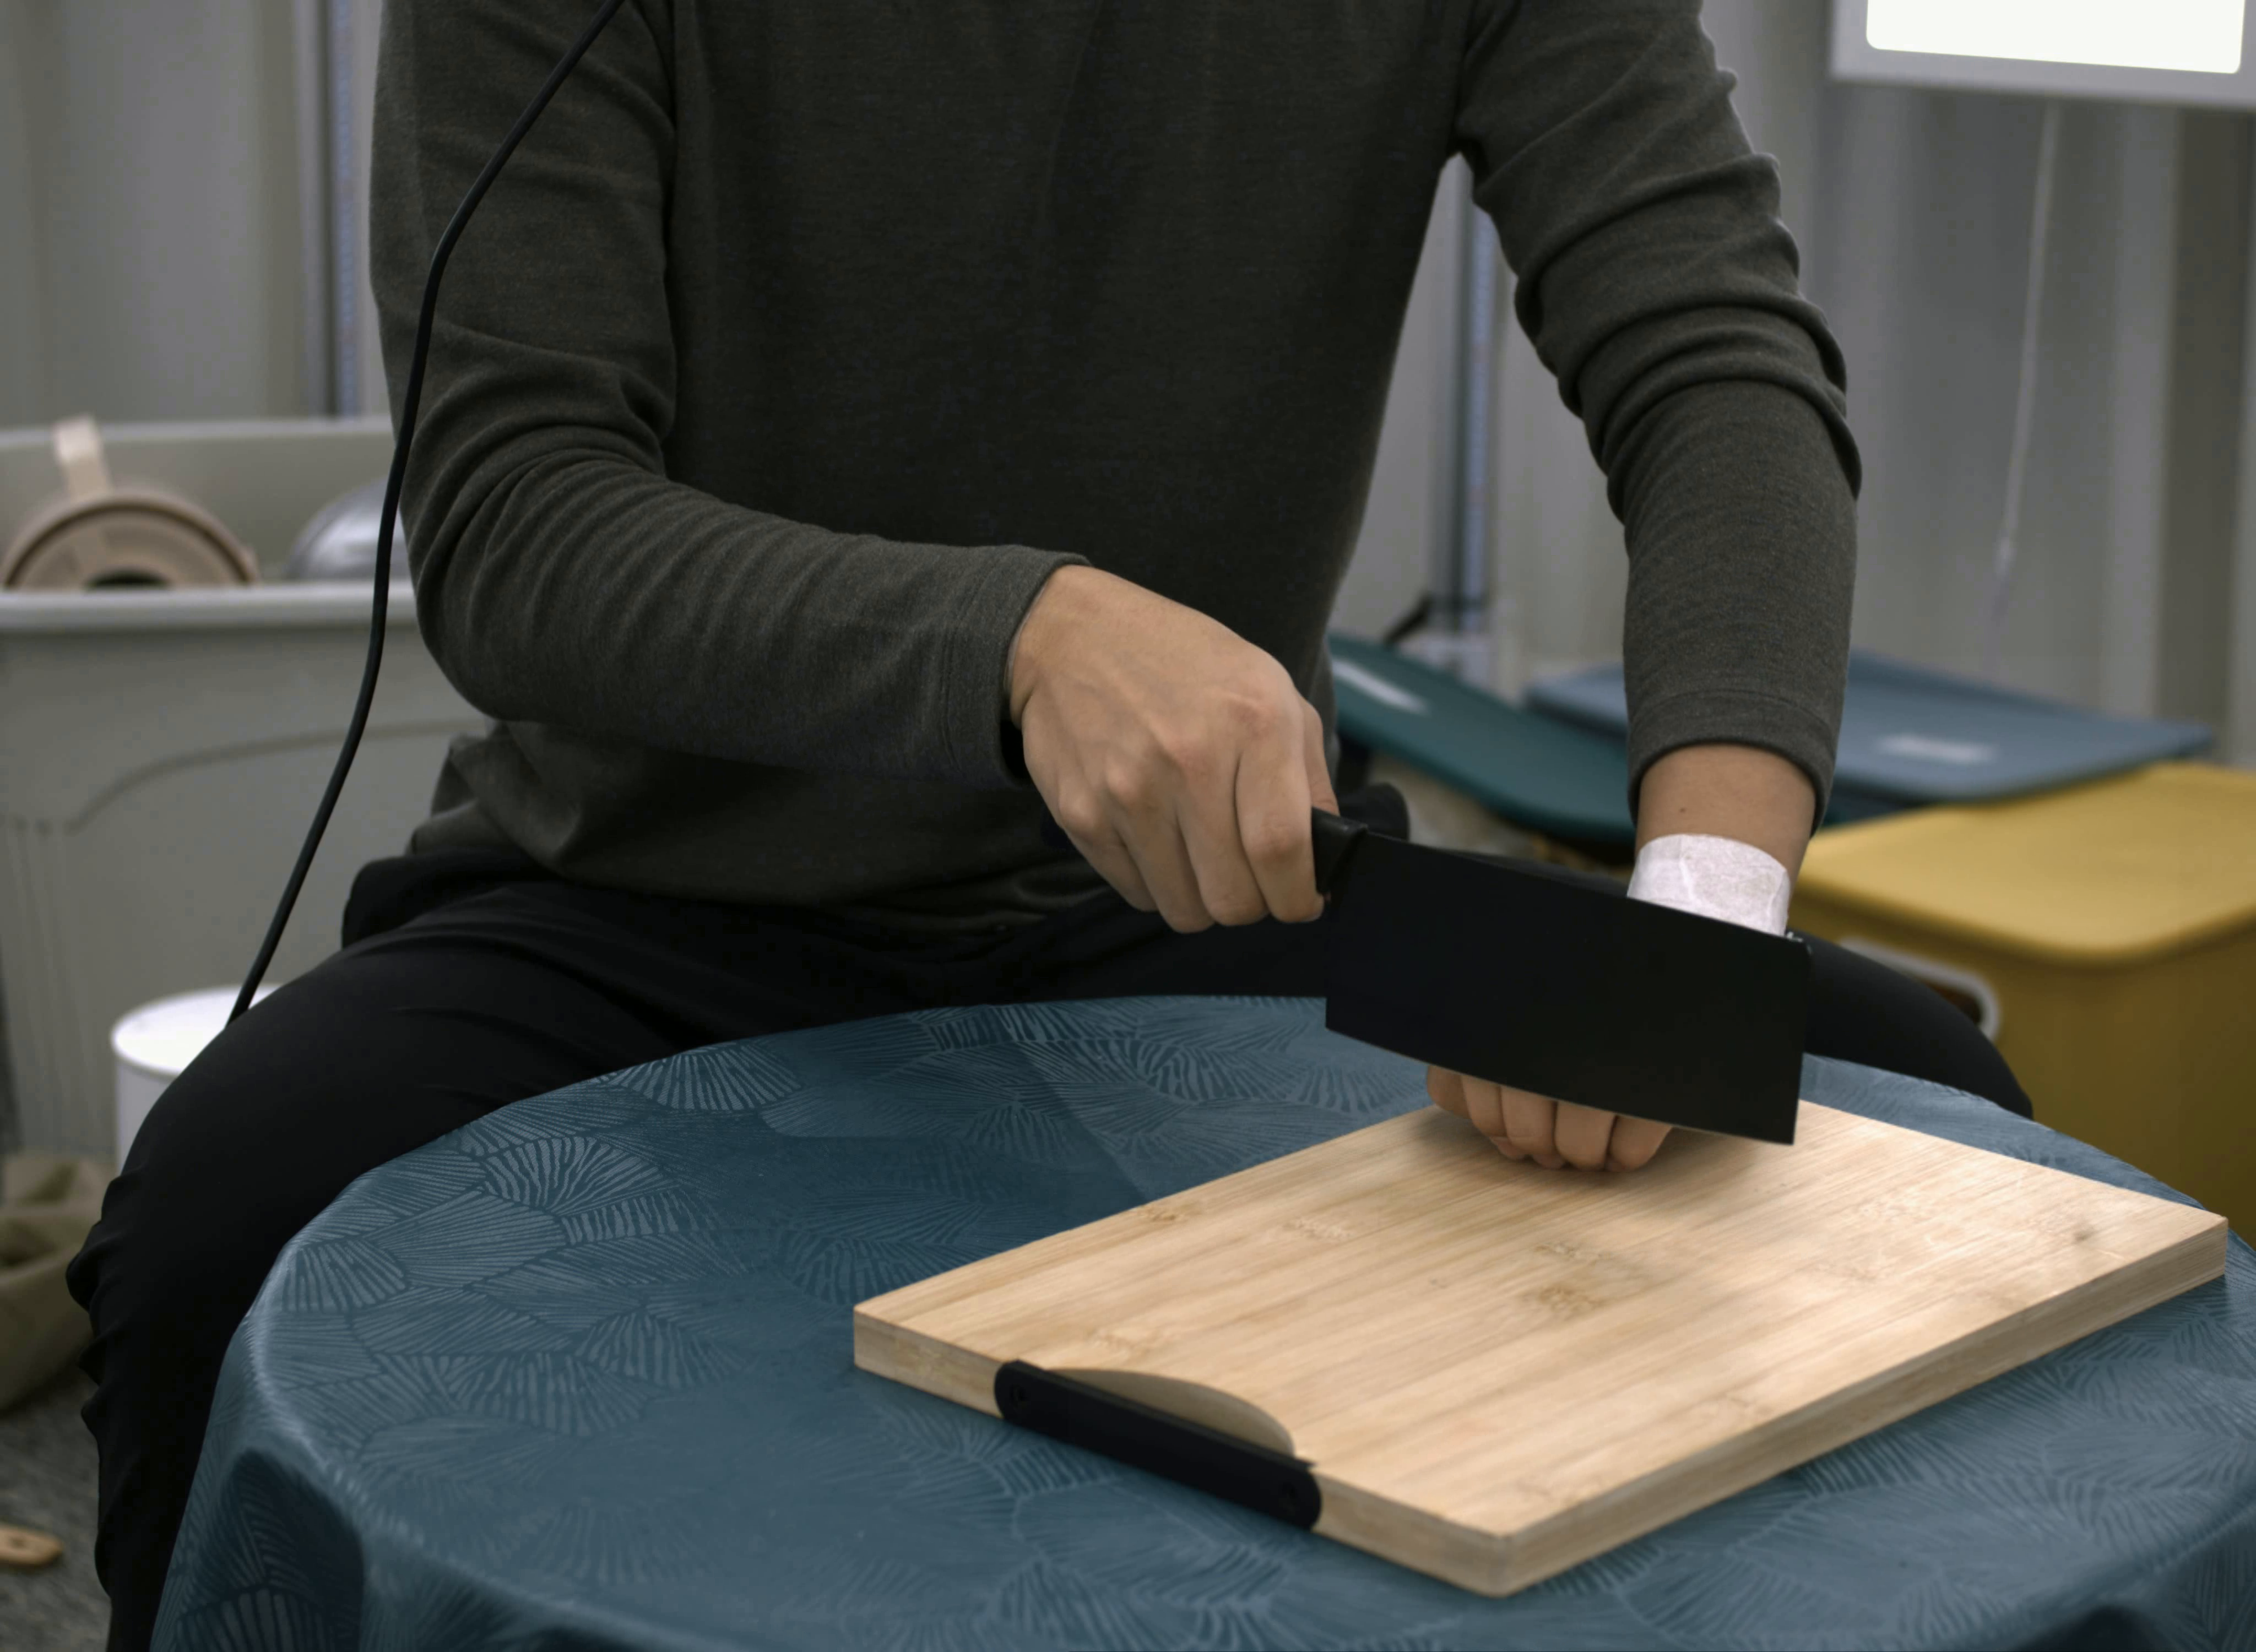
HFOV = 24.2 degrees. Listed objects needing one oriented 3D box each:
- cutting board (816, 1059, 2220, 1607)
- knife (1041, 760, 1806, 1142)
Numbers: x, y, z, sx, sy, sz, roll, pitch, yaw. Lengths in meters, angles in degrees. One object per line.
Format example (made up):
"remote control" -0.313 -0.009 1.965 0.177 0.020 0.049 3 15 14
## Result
"cutting board" 0.119 0.135 1.517 0.247 0.024 0.350 13 20 41
"knife" 0.084 0.032 1.589 0.298 0.081 0.021 20 20 40
